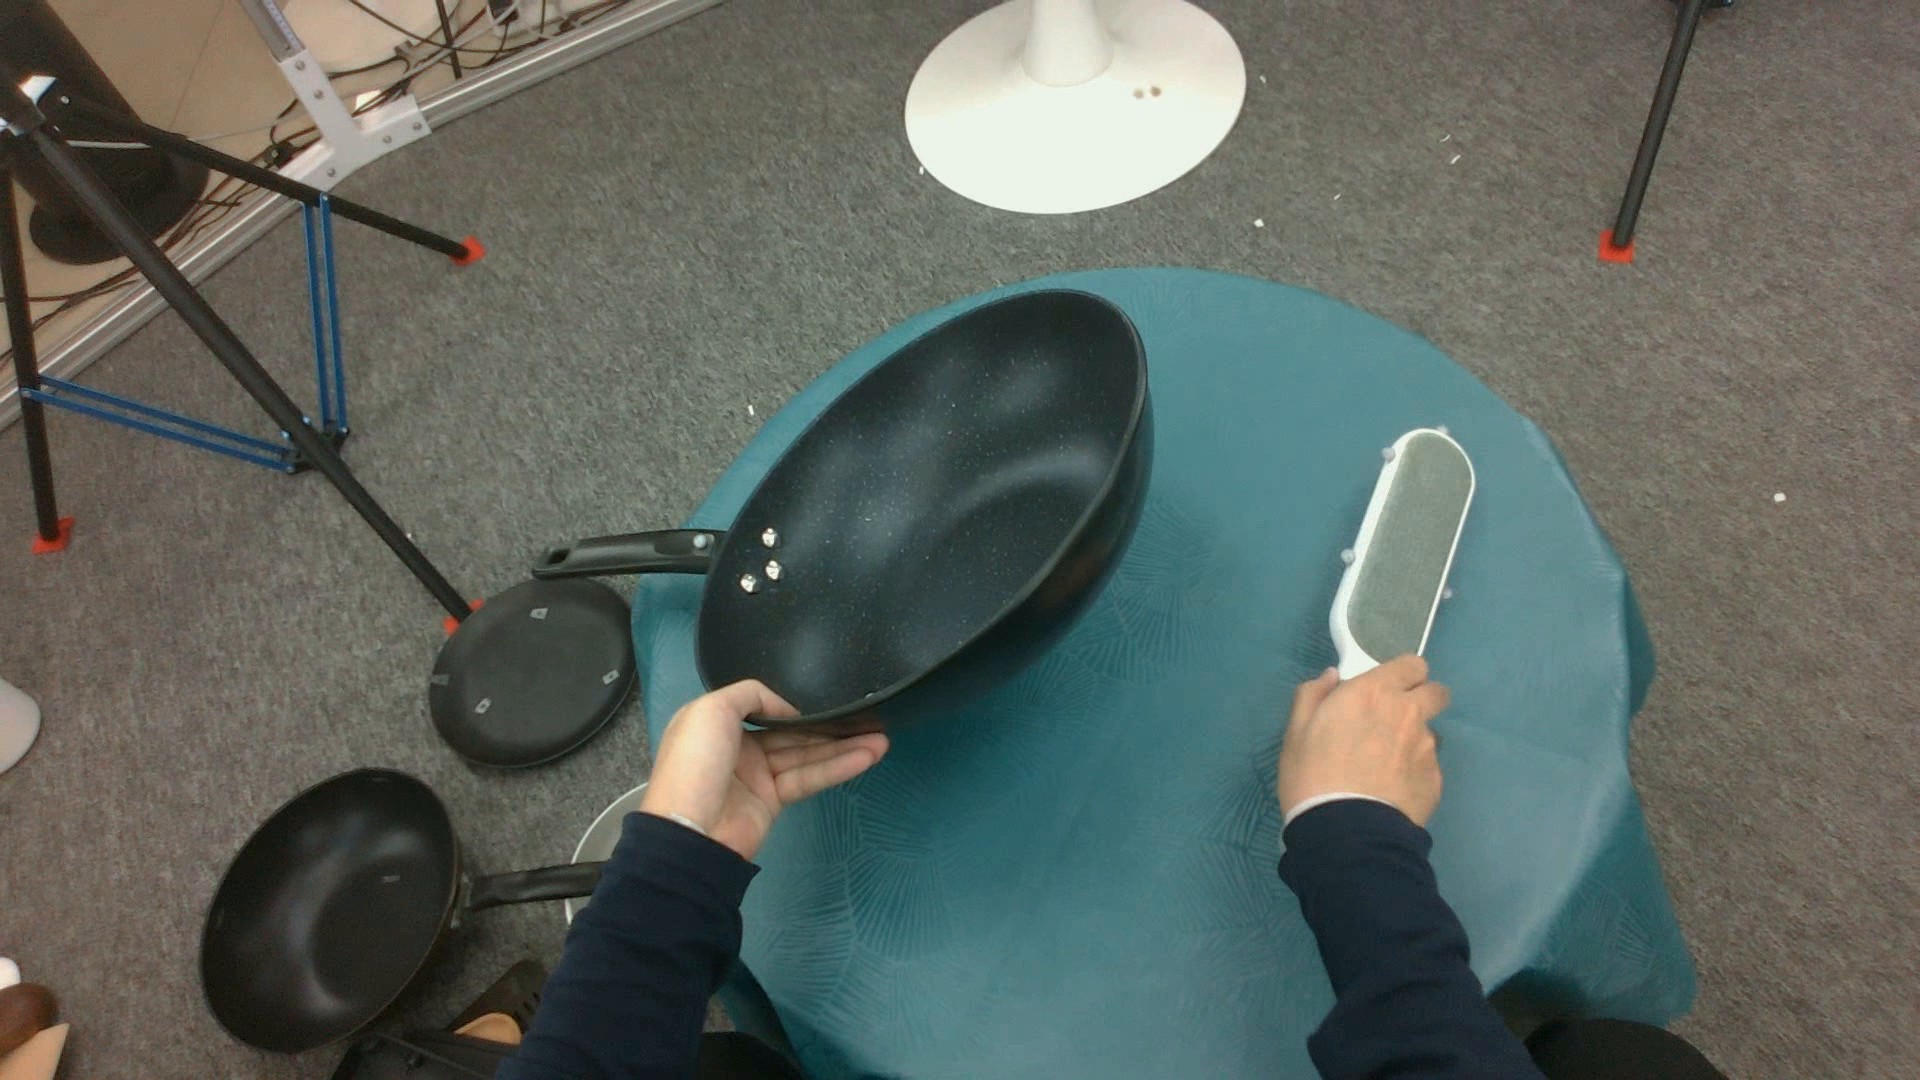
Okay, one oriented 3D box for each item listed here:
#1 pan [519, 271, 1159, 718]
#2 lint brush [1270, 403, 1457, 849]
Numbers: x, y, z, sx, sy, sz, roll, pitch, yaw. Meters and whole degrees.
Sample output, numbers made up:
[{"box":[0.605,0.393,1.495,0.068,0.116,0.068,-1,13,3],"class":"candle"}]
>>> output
[{"box":[-0.082,-0.007,0.820,0.475,0.111,0.312,-13,42,37],"class":"pan"},{"box":[0.229,0.038,0.779,0.060,0.021,0.310,37,57,-15],"class":"lint brush"}]
